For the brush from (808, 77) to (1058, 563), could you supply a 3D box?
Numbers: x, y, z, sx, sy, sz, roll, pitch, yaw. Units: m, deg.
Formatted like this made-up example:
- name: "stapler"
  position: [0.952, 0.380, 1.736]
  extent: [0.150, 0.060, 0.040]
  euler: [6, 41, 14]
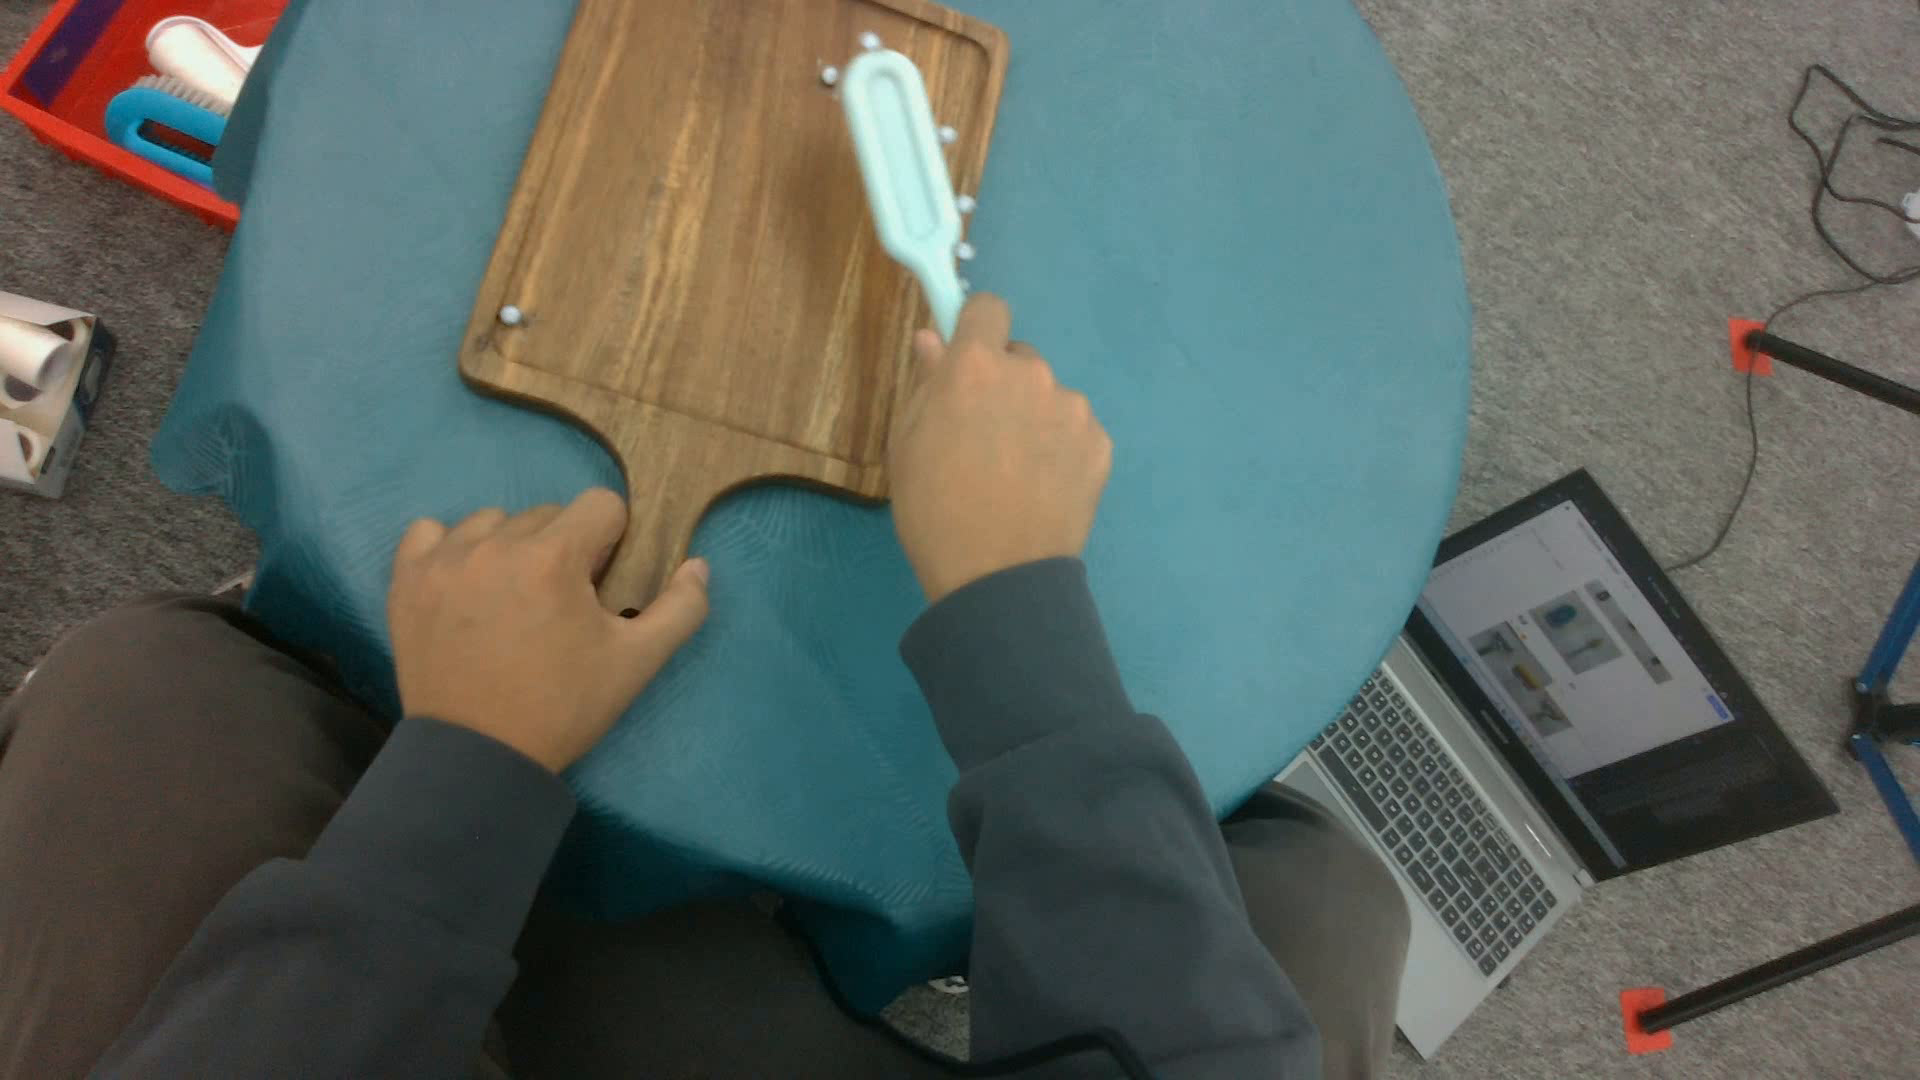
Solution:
- name: "brush"
  position: [-0.011, -0.095, 0.601]
  extent: [0.038, 0.049, 0.229]
  euler: [-23, 79, -8]

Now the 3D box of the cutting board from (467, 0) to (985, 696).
- name: "cutting board"
  position: [-0.110, -0.102, 0.638]
  extent: [0.201, 0.023, 0.353]
  euler: [14, 74, -11]
